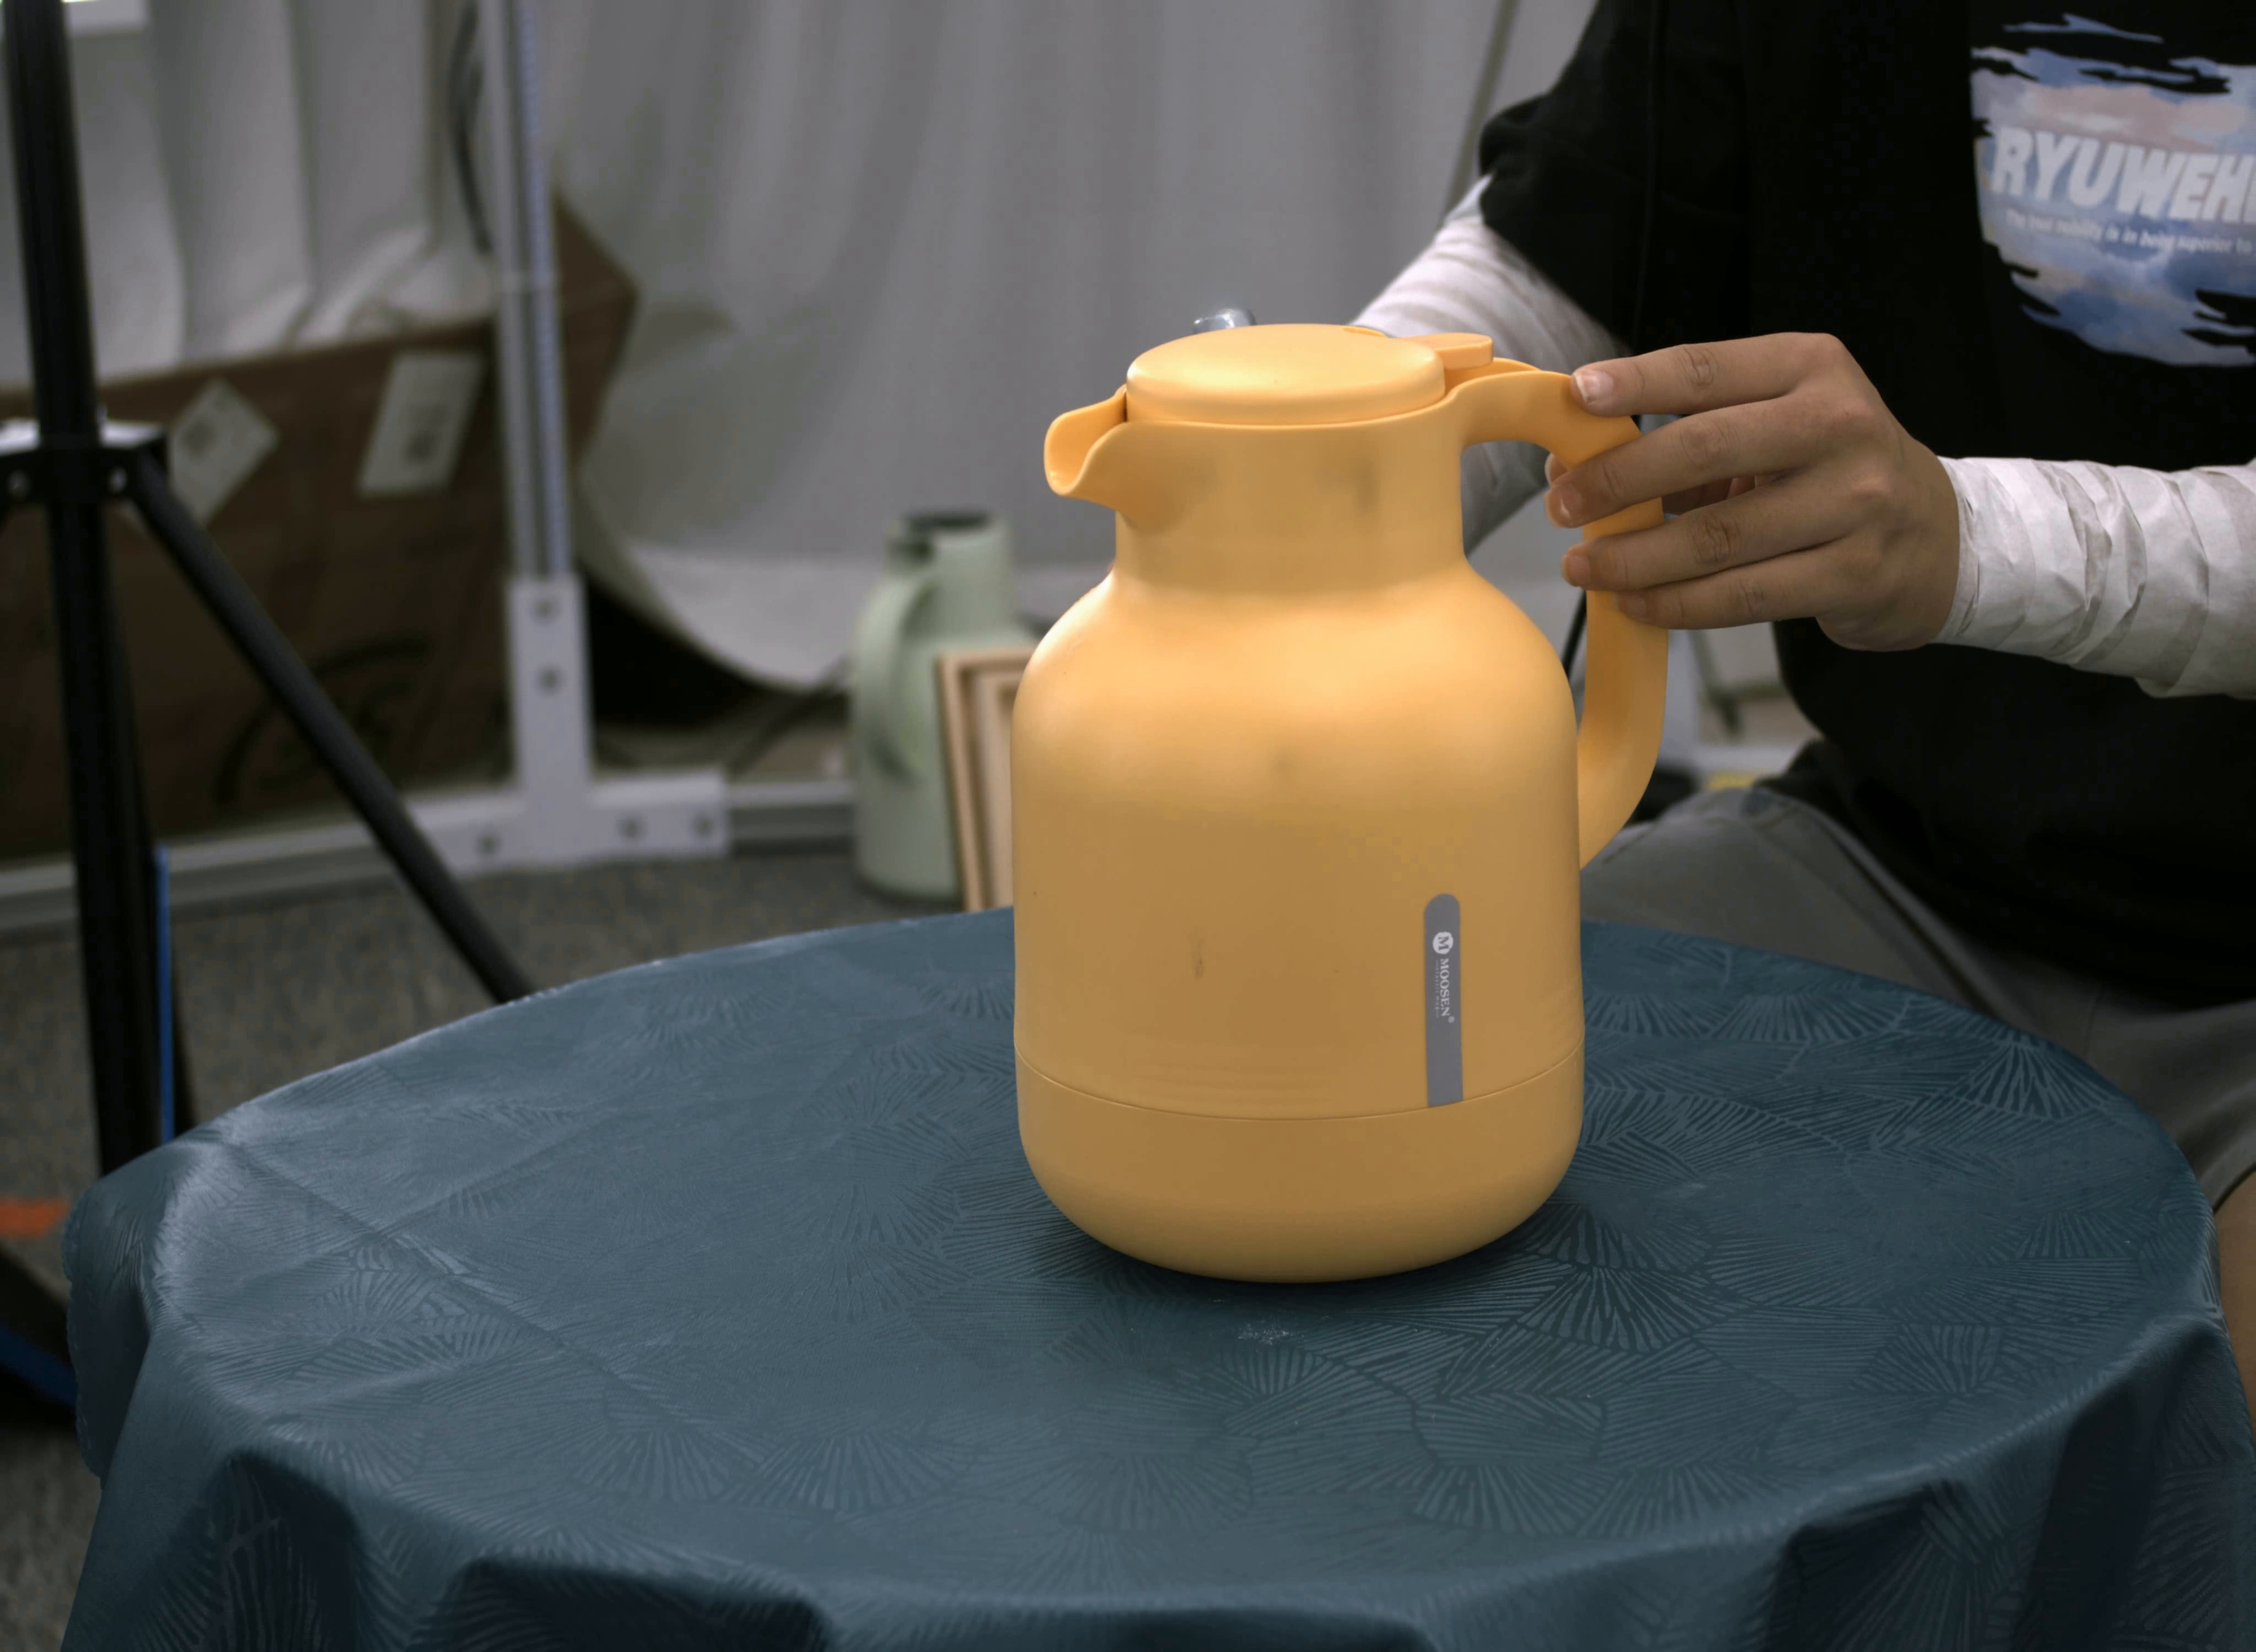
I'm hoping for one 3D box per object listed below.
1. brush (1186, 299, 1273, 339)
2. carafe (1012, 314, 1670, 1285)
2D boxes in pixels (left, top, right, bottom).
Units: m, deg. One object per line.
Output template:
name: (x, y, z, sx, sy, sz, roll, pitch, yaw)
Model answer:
brush: (0.041, -0.100, 1.607, 0.061, 0.173, 0.096, -17, 49, -4)
carafe: (0.066, -0.014, 1.505, 0.198, 0.260, 0.167, -10, 19, -24)
